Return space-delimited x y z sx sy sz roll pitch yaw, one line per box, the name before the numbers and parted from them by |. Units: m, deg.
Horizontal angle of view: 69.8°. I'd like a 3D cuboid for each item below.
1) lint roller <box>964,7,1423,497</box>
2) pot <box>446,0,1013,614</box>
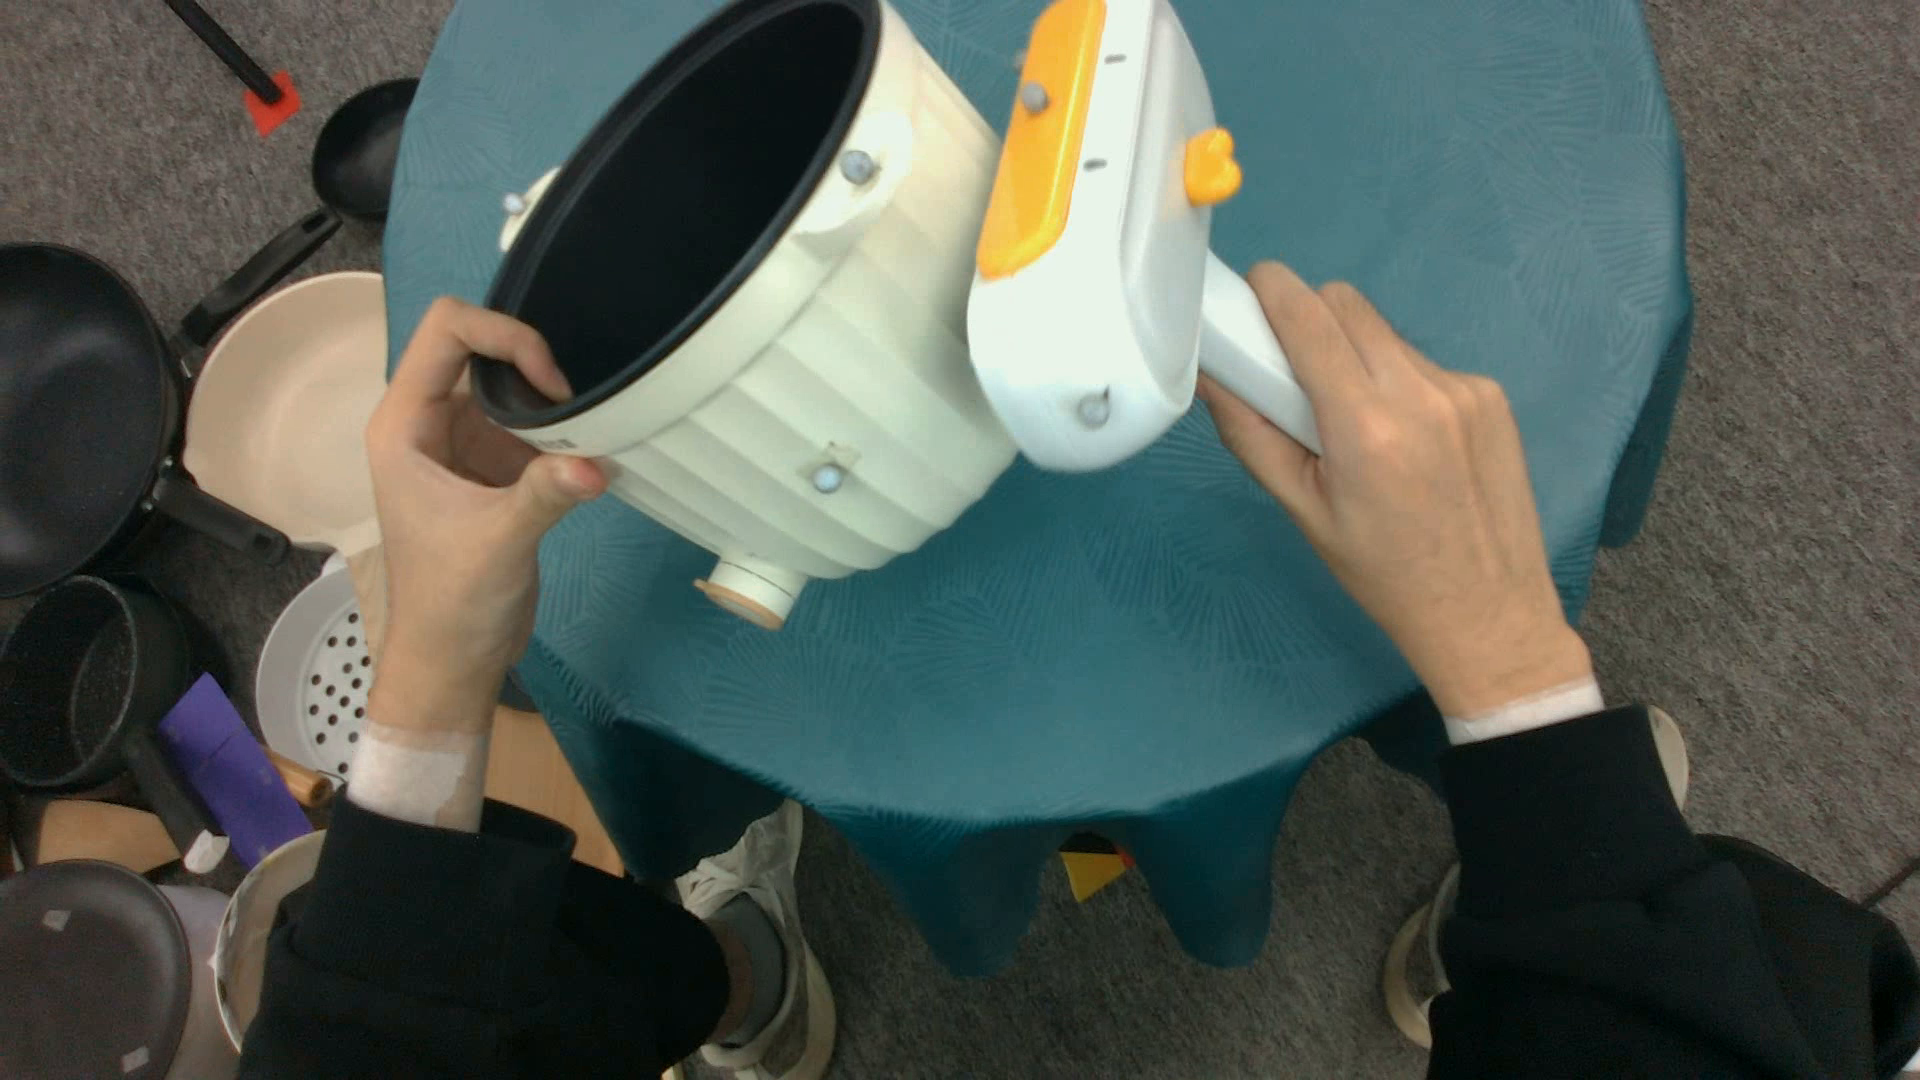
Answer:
lint roller | 0.086 -0.071 0.466 0.074 0.192 0.194 -27 38 32
pot | -0.067 -0.083 0.481 0.240 0.142 0.191 8 65 49
